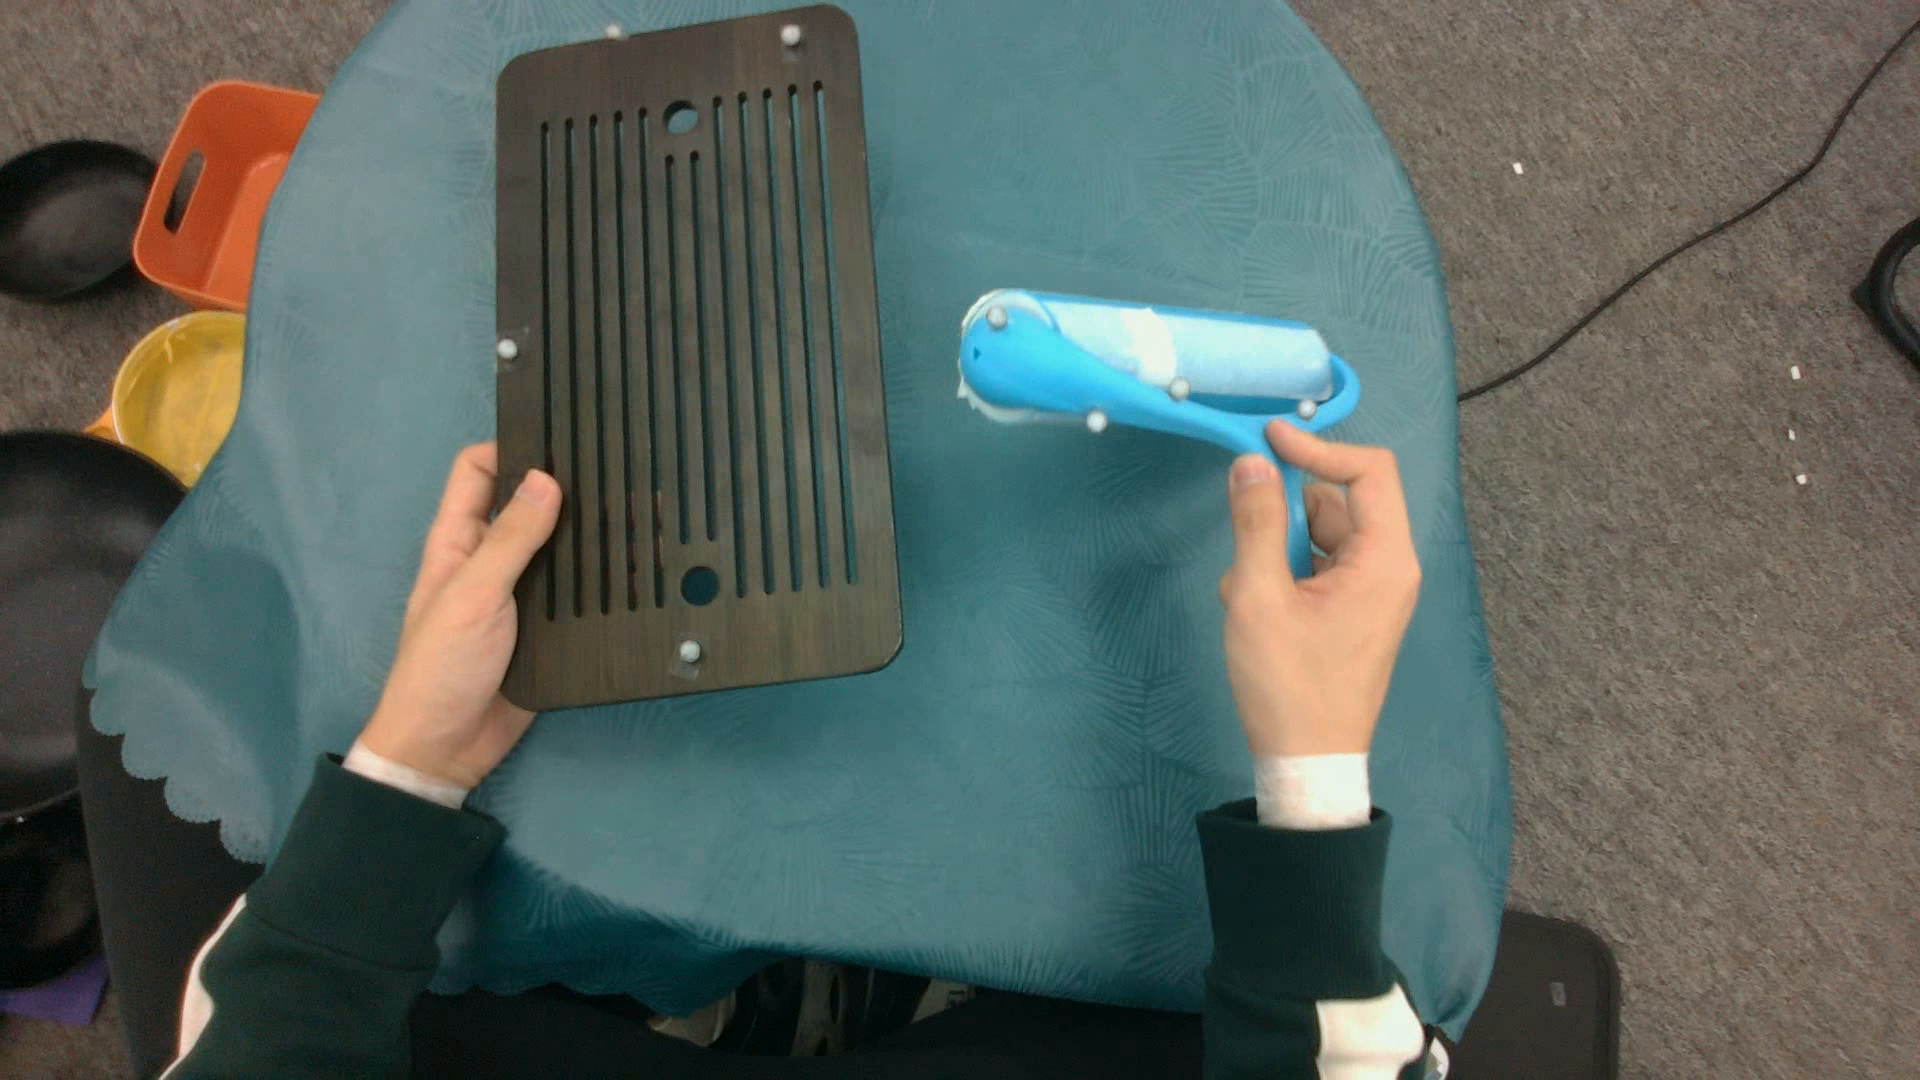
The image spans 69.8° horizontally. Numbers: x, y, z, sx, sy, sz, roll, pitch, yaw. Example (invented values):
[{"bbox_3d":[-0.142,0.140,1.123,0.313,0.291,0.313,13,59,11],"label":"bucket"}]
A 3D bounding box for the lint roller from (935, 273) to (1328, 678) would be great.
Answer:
[{"bbox_3d":[0.104,-0.035,0.584,0.230,0.067,0.180,-9,65,-48],"label":"lint roller"}]

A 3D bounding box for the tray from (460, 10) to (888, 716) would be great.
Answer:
[{"bbox_3d":[-0.130,-0.084,0.600,0.170,0.018,0.306,-9,75,5],"label":"tray"}]
